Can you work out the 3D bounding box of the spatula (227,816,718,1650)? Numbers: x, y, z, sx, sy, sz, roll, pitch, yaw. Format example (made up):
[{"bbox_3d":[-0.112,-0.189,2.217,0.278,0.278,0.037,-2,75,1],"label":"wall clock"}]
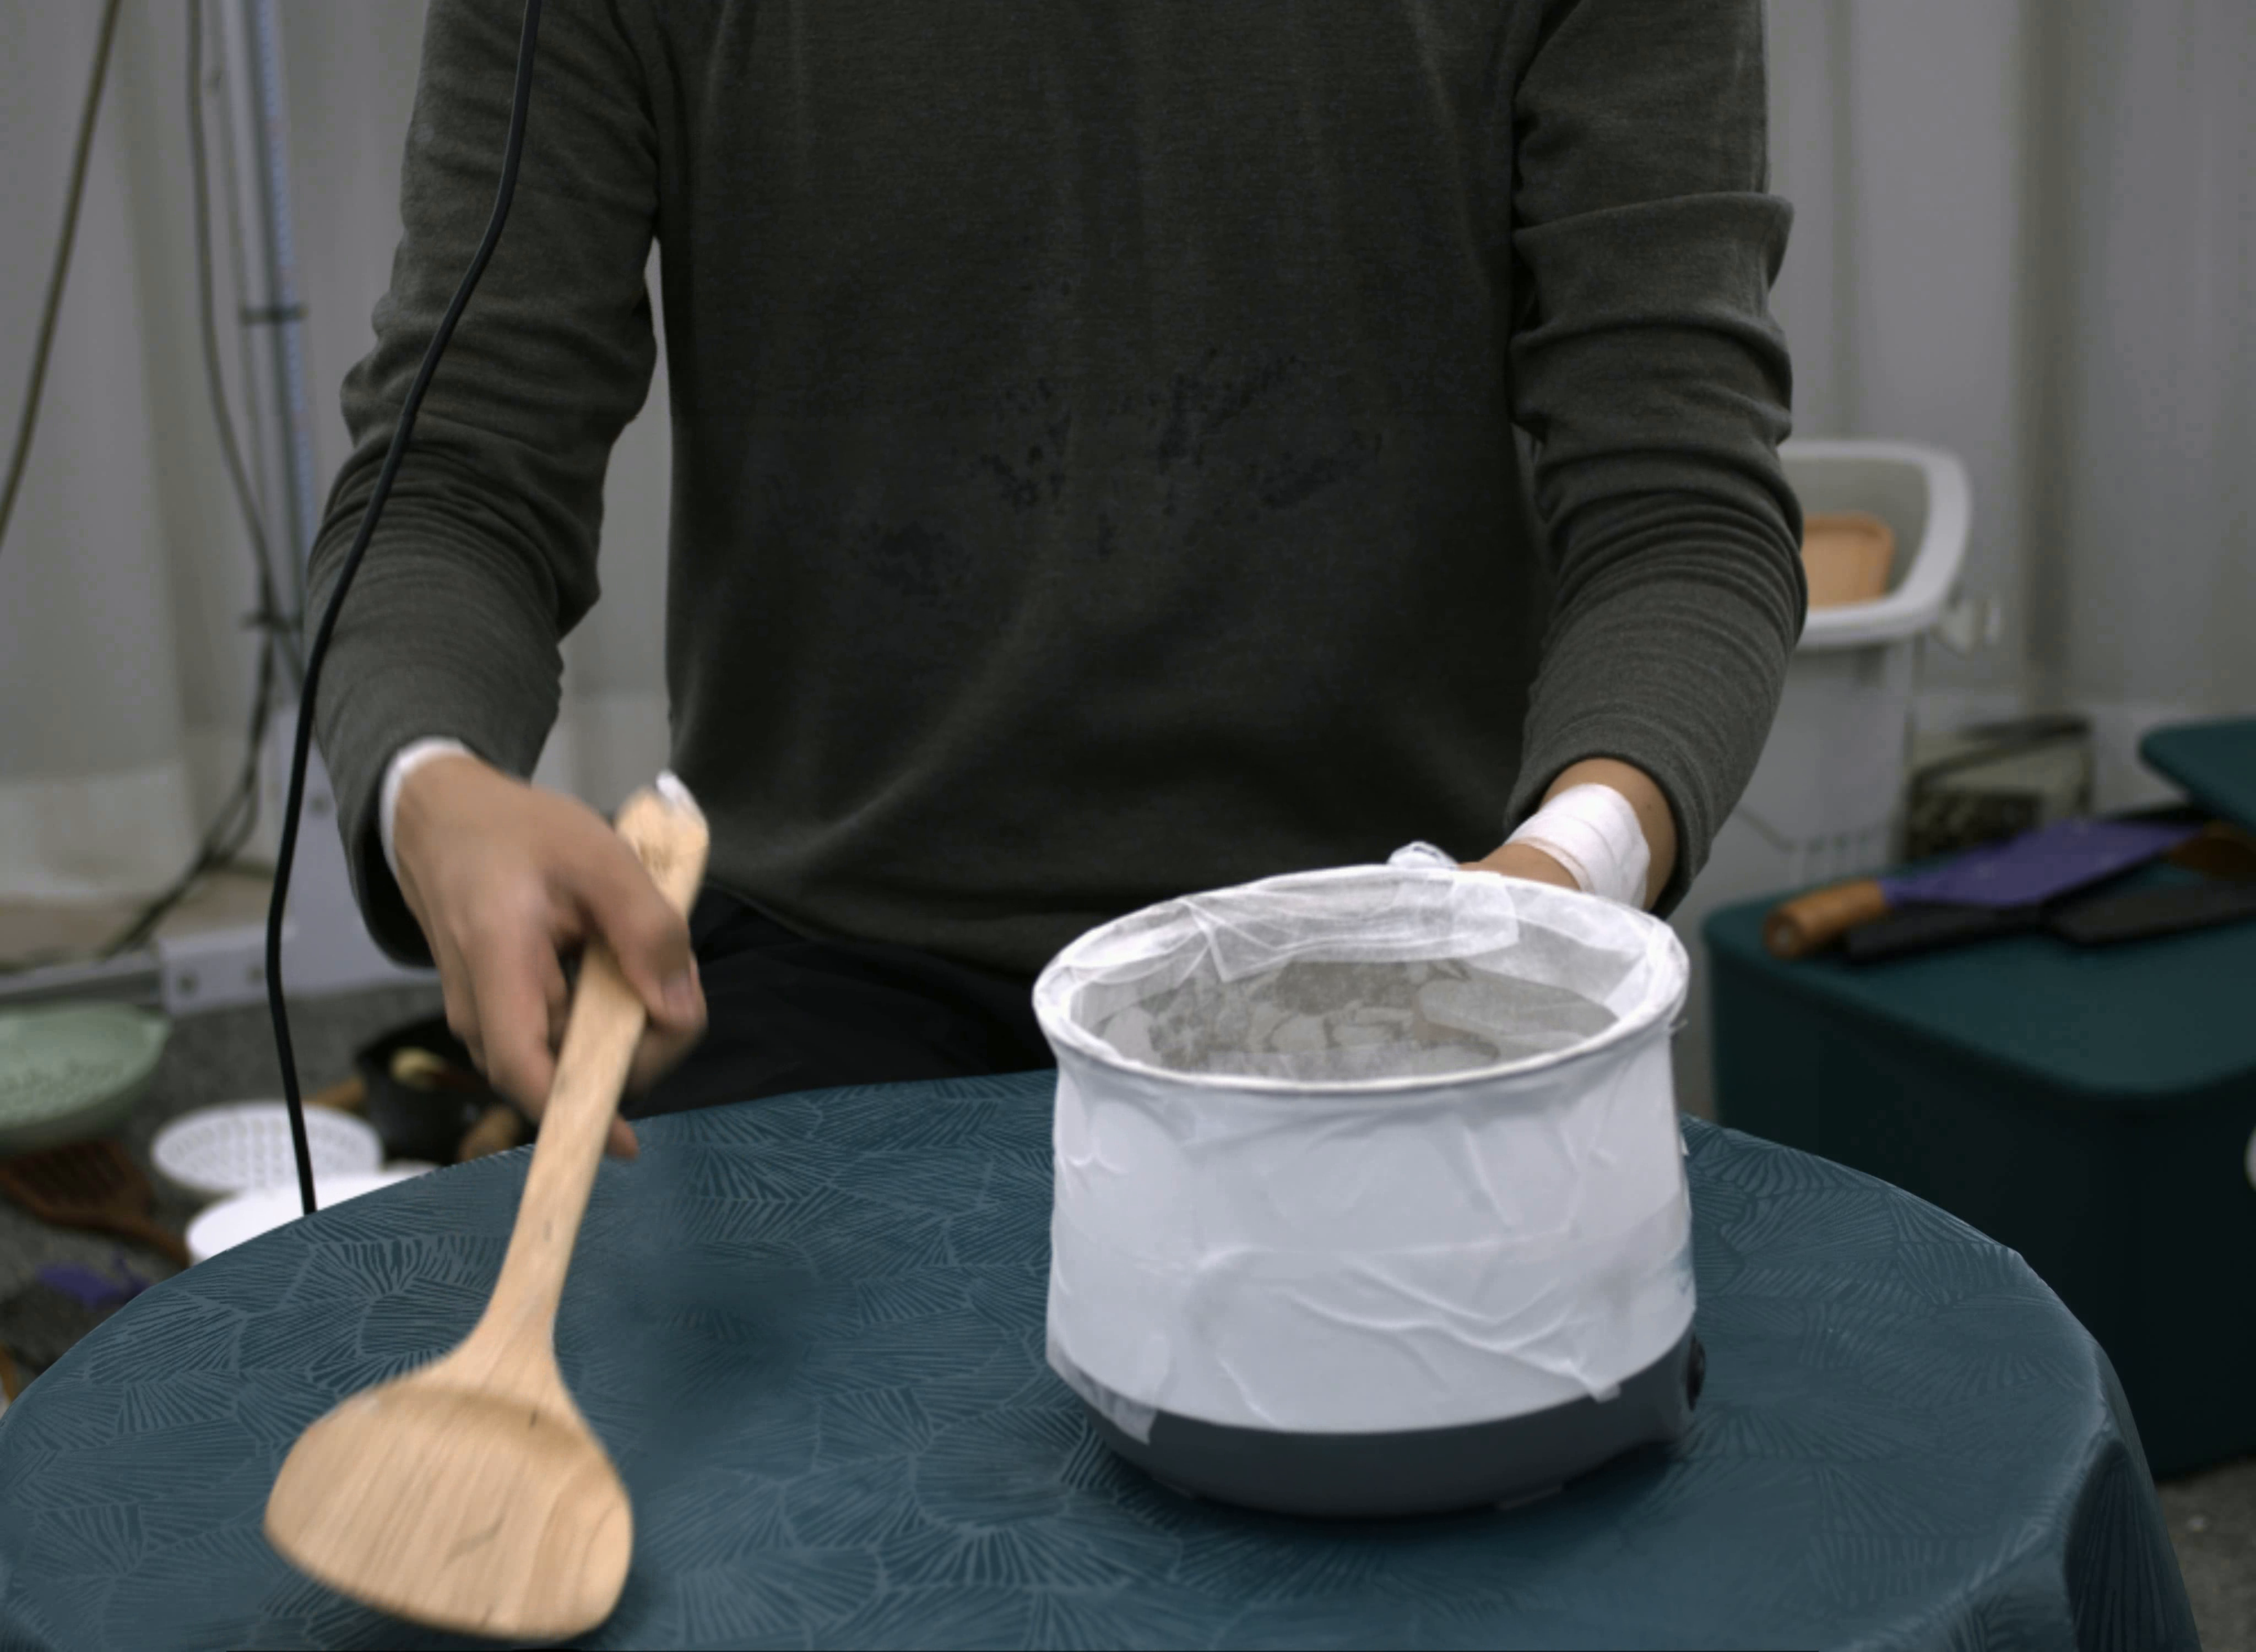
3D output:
[{"bbox_3d":[-0.164,0.101,1.537,0.095,0.018,0.395,15,33,-2],"label":"spatula"}]

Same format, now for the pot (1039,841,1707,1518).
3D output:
[{"bbox_3d":[0.072,0.091,1.513,0.178,0.136,0.235,0,17,10],"label":"pot"}]
